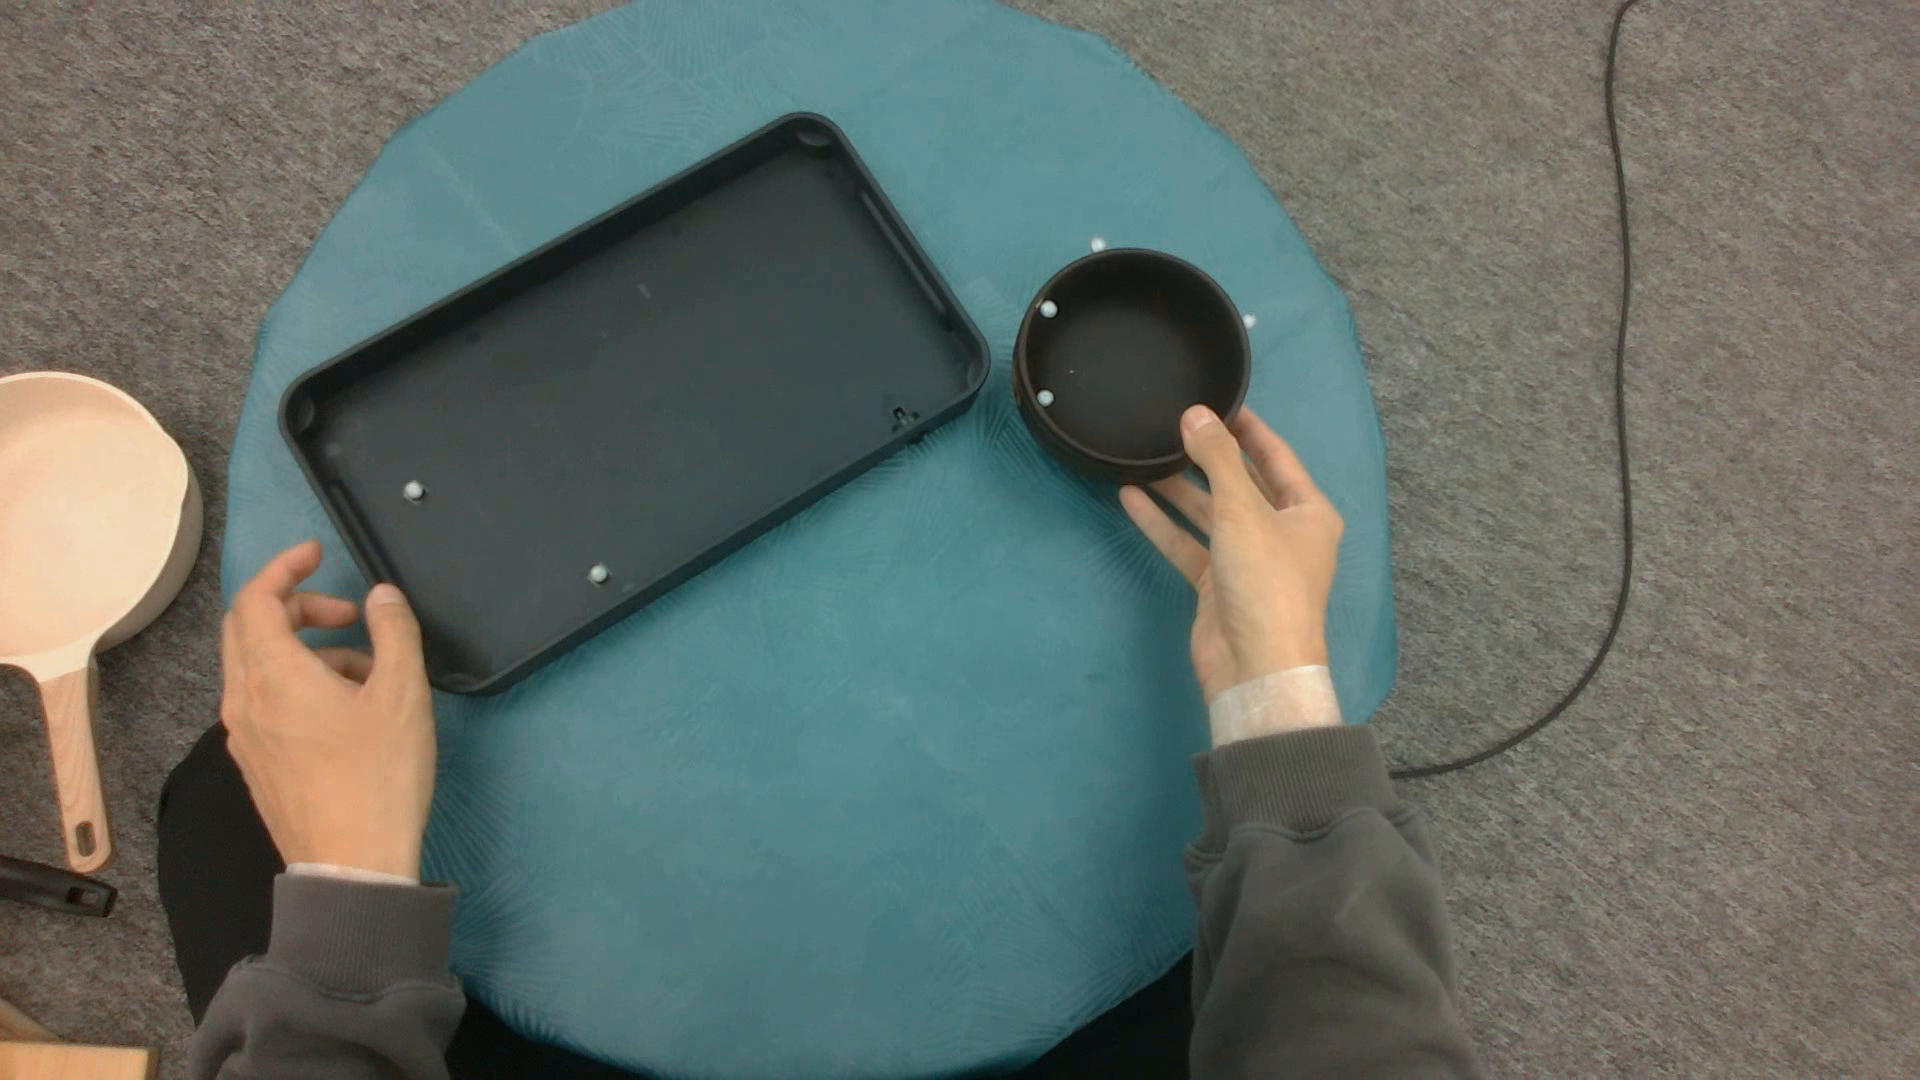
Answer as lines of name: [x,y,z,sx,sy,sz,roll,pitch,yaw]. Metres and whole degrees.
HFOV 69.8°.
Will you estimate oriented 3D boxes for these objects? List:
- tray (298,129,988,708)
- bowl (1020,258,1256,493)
tray: [-0.159,-0.068,0.718,0.318,0.037,0.184,-34,80,-11]
bowl: [0.089,-0.080,0.715,0.118,0.069,0.118,1,77,-3]
